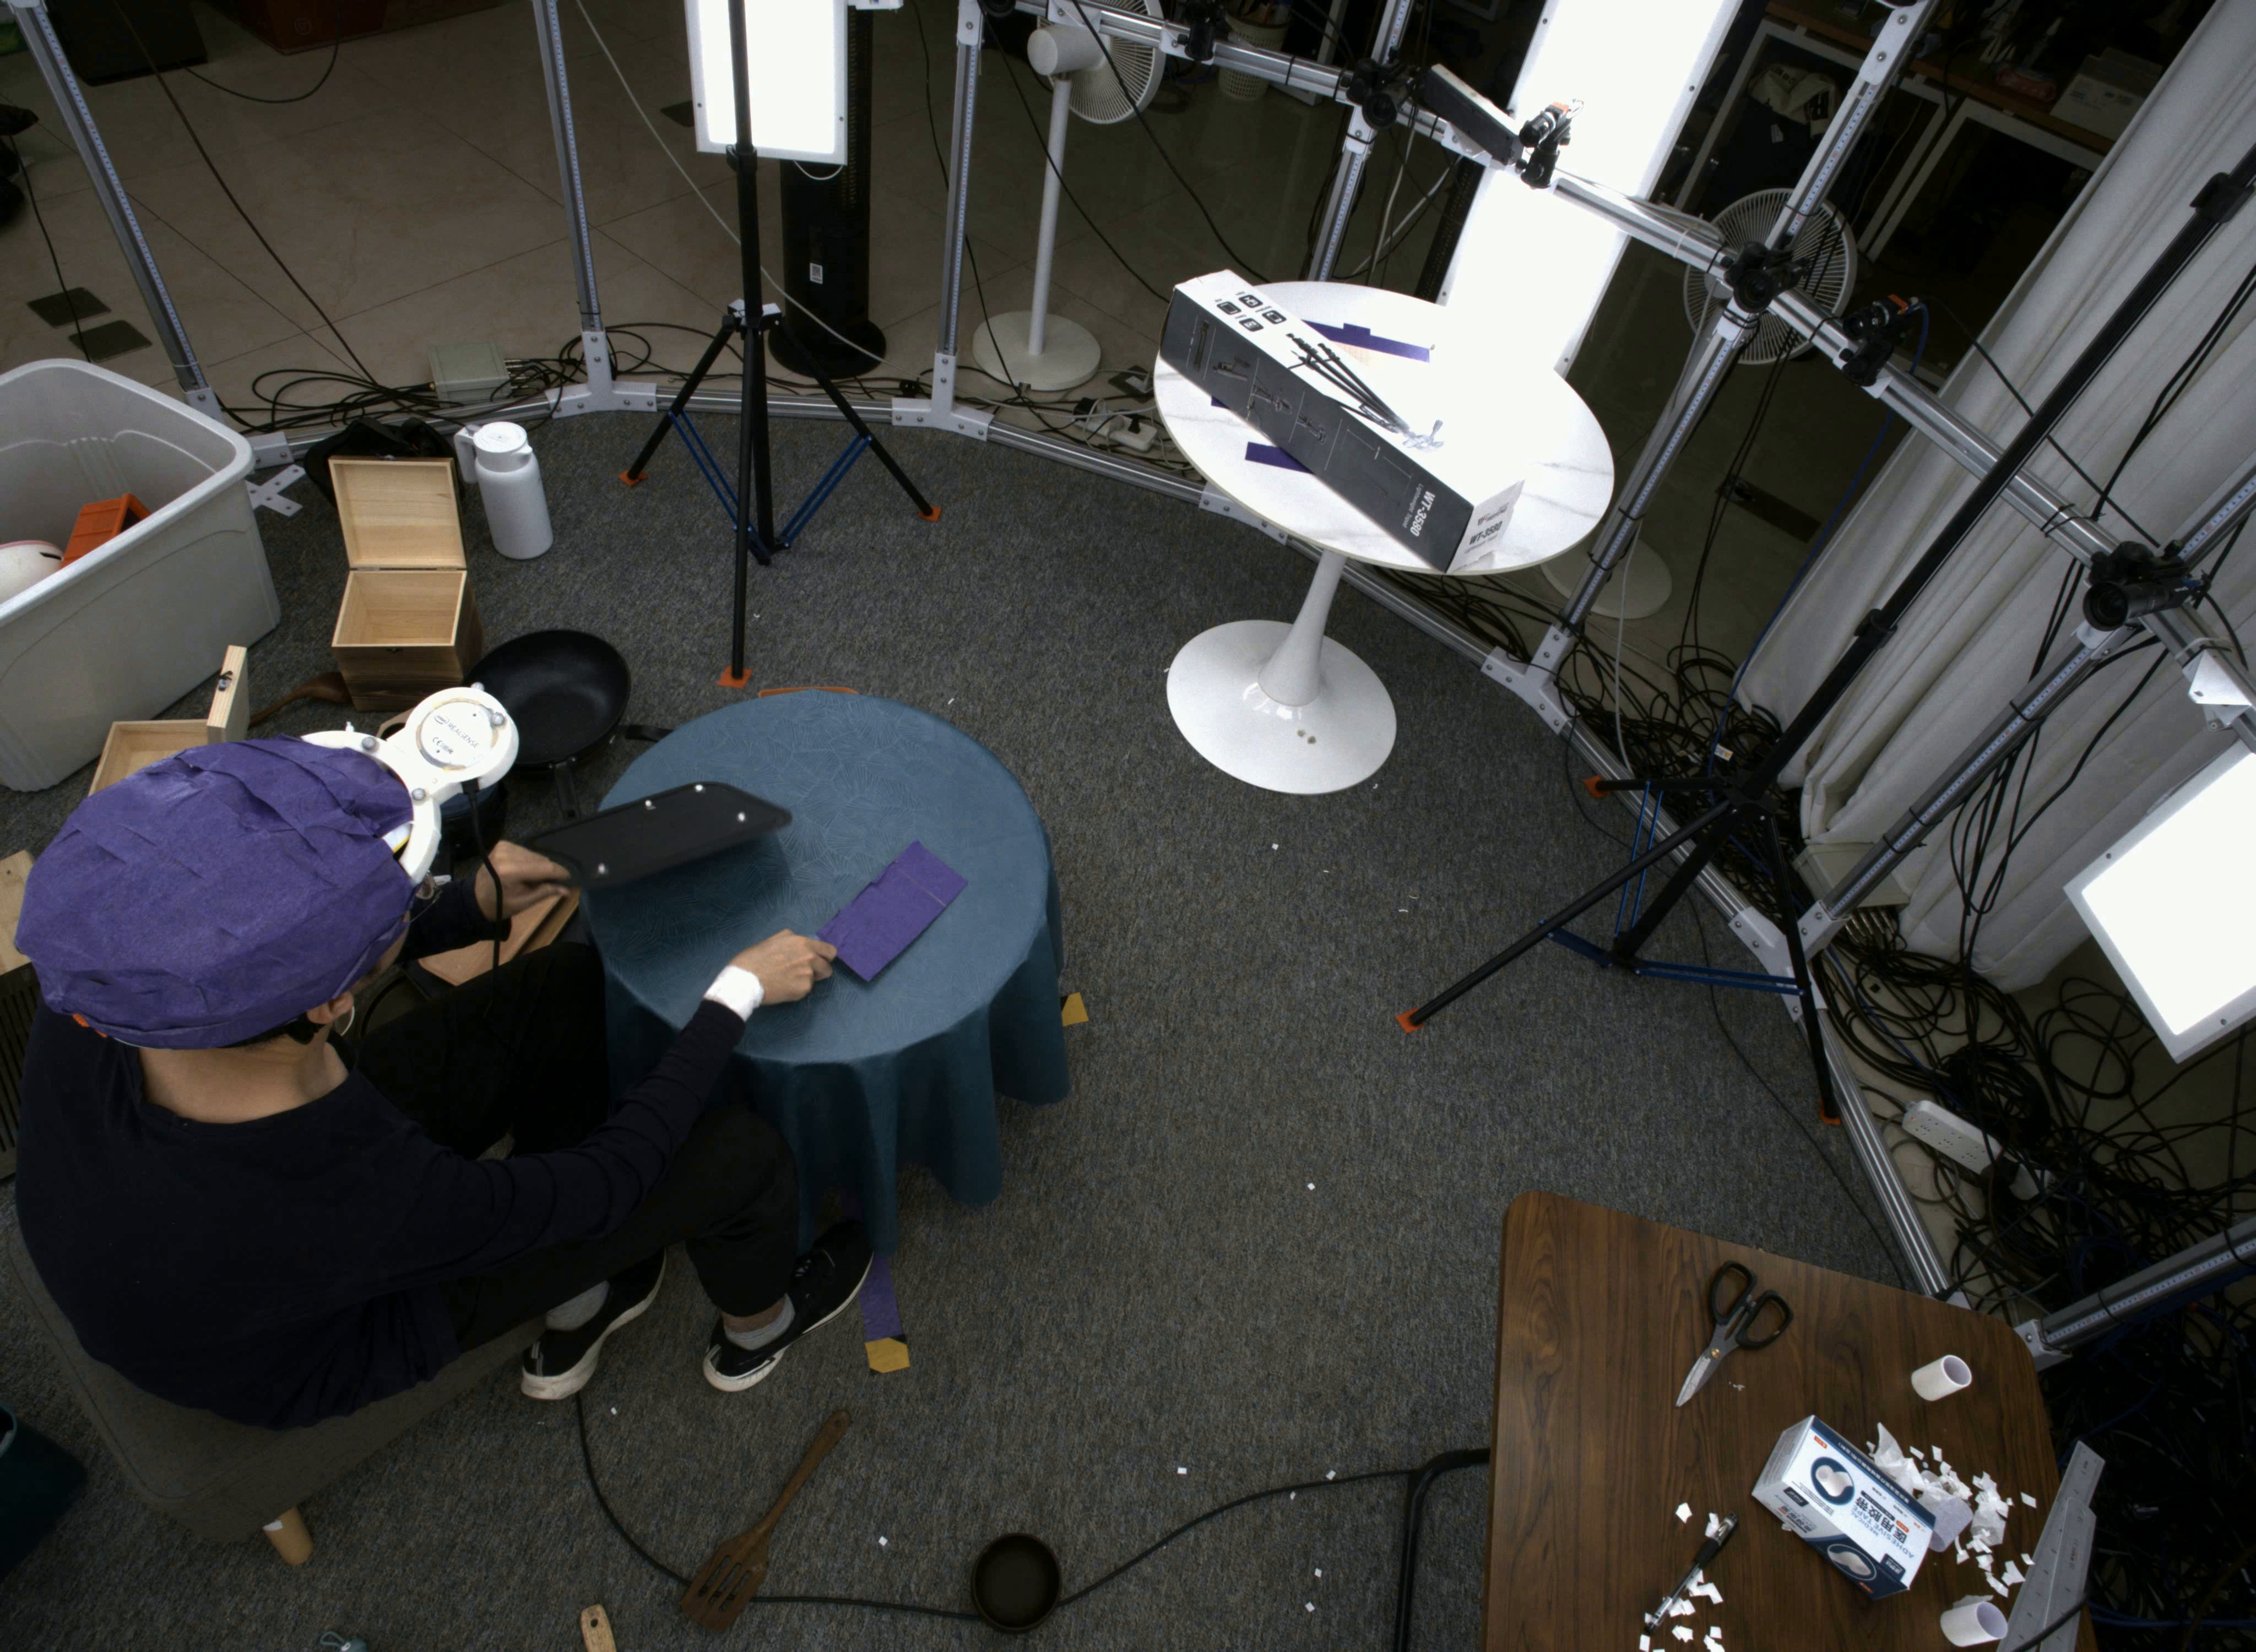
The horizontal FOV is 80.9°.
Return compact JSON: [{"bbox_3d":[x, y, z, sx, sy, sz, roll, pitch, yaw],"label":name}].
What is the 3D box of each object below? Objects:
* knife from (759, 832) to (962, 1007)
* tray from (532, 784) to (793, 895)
[{"bbox_3d":[-0.325,0.128,1.634,0.103,0.032,0.314,39,52,2],"label":"knife"},{"bbox_3d":[-0.589,0.010,1.585,0.203,0.010,0.328,22,30,33],"label":"tray"}]
